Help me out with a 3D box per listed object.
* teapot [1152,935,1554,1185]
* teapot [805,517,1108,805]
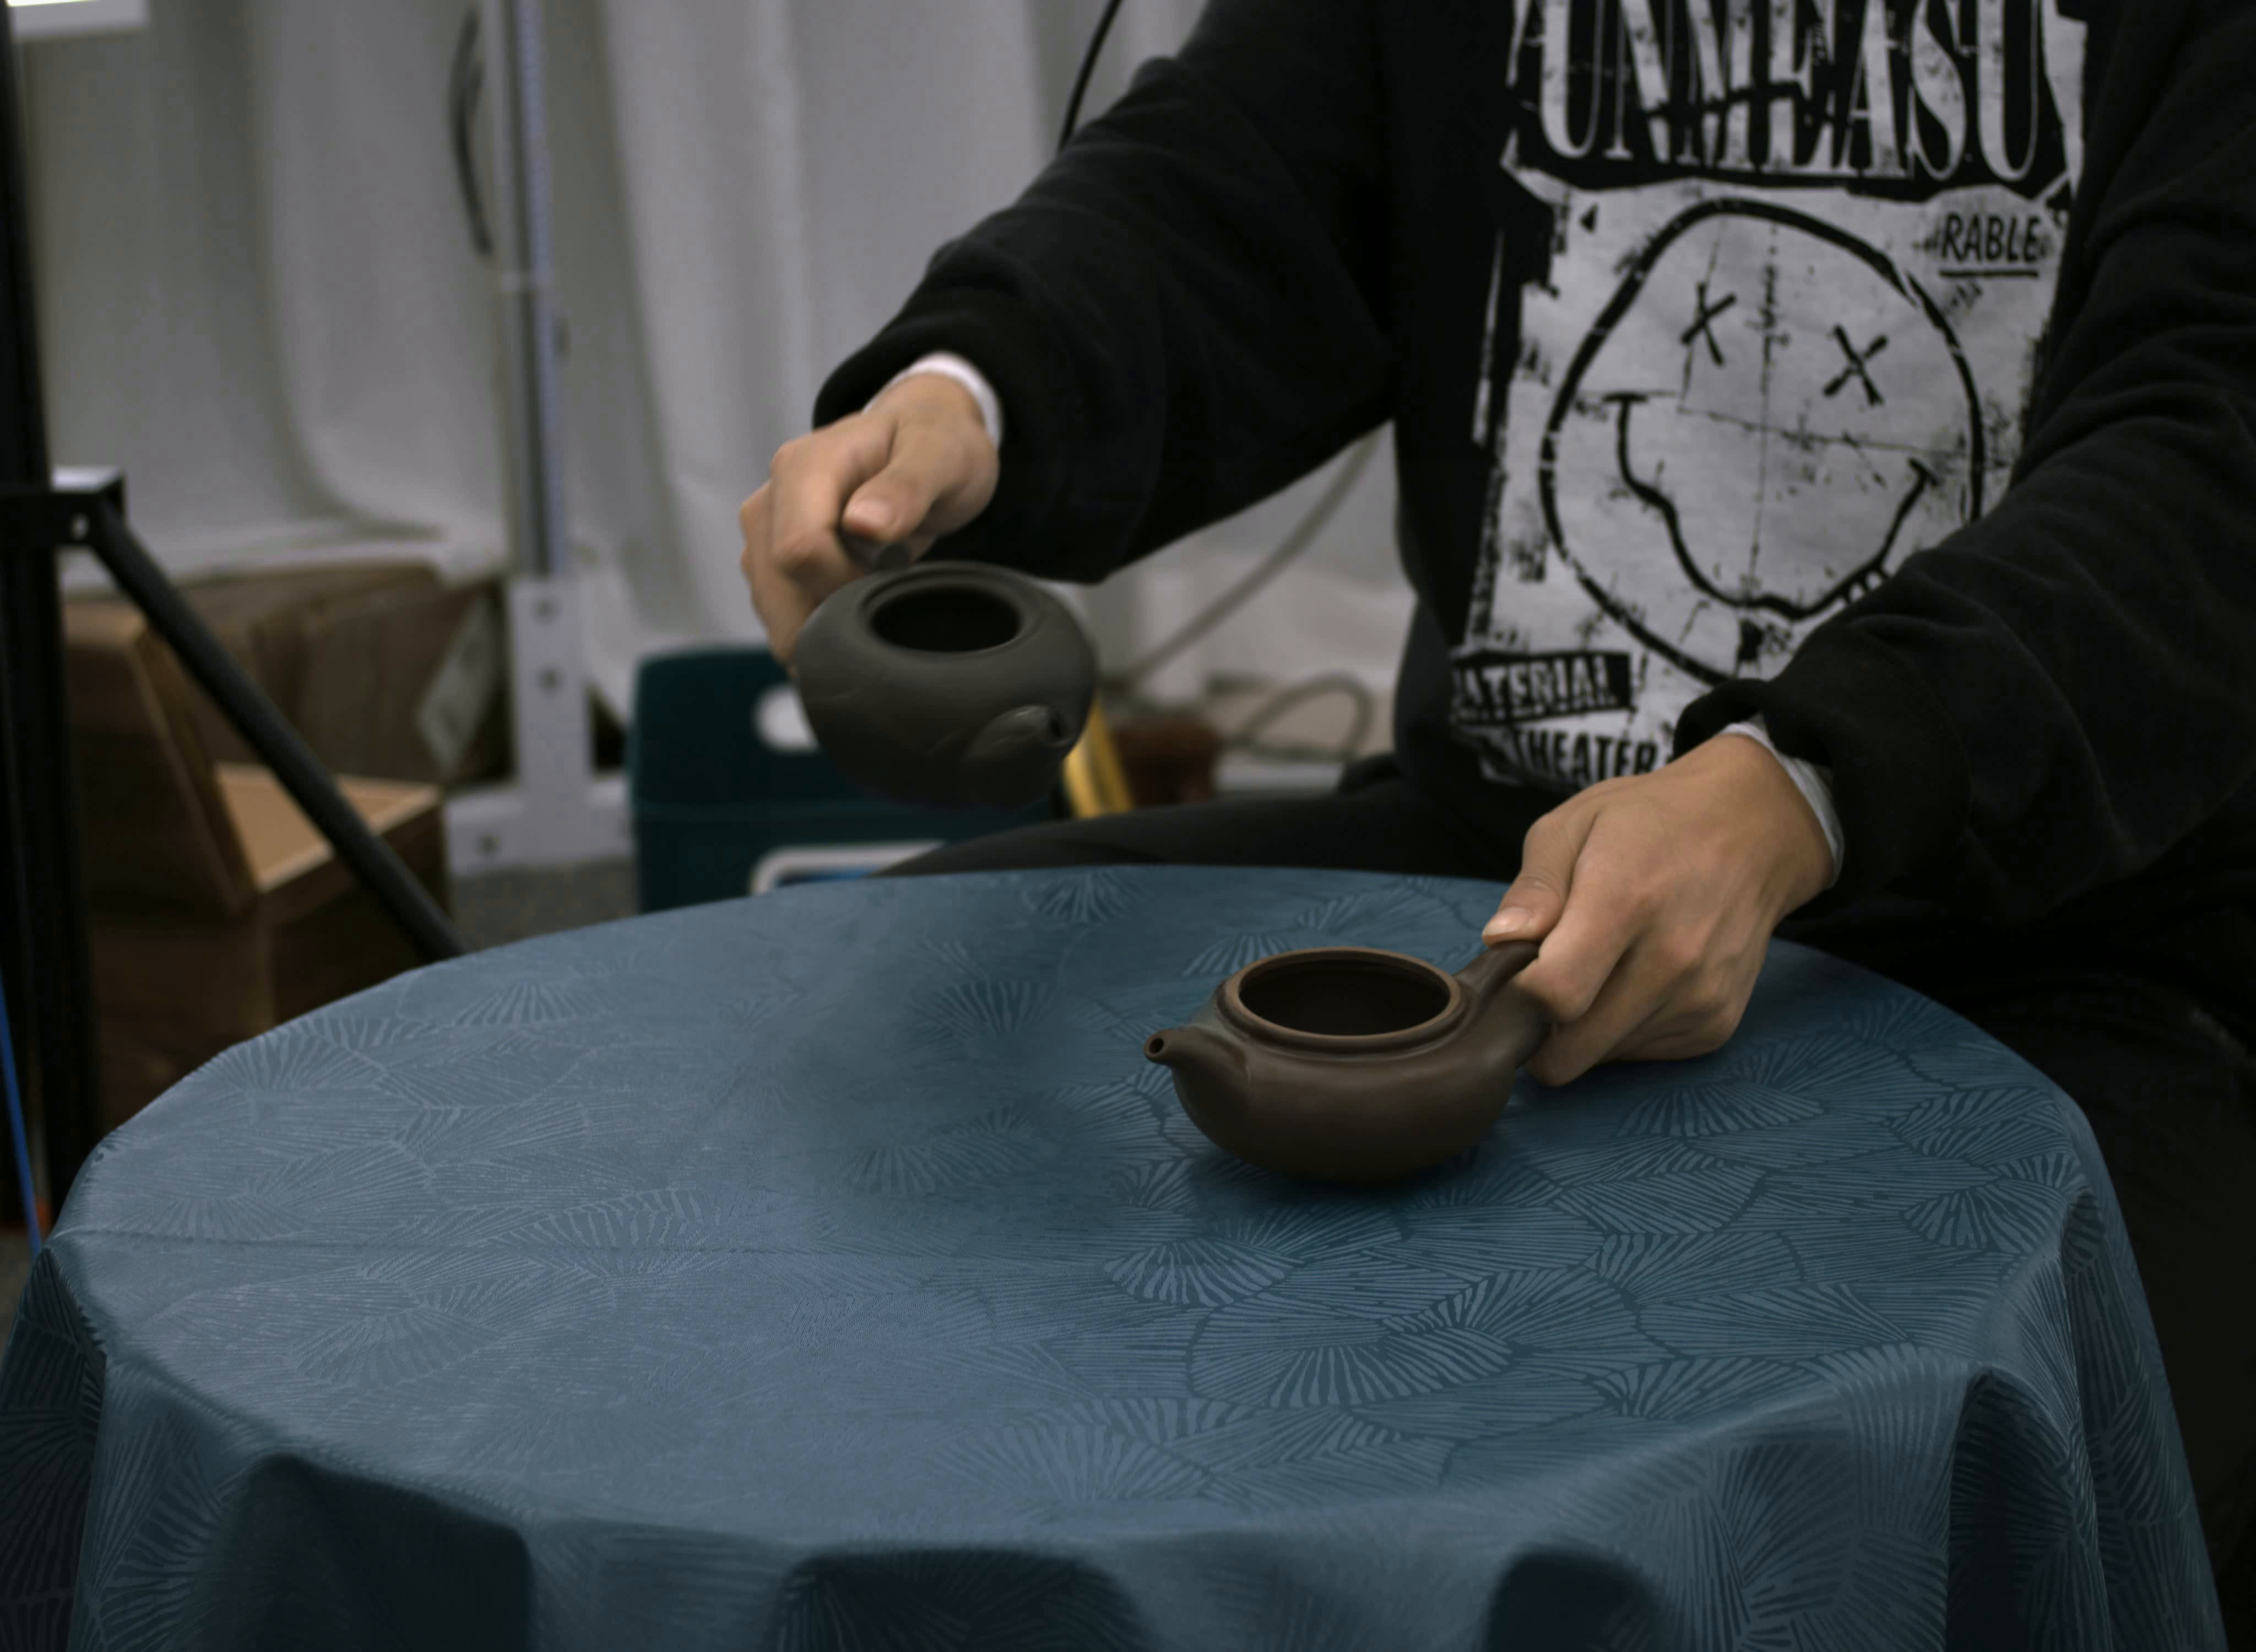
[{"bbox_3d":[0.067,0.068,1.574,0.150,0.054,0.105,-19,31,-37],"label":"teapot"},{"bbox_3d":[-0.054,-0.047,1.629,0.090,0.064,0.158,-12,34,-25],"label":"teapot"}]
